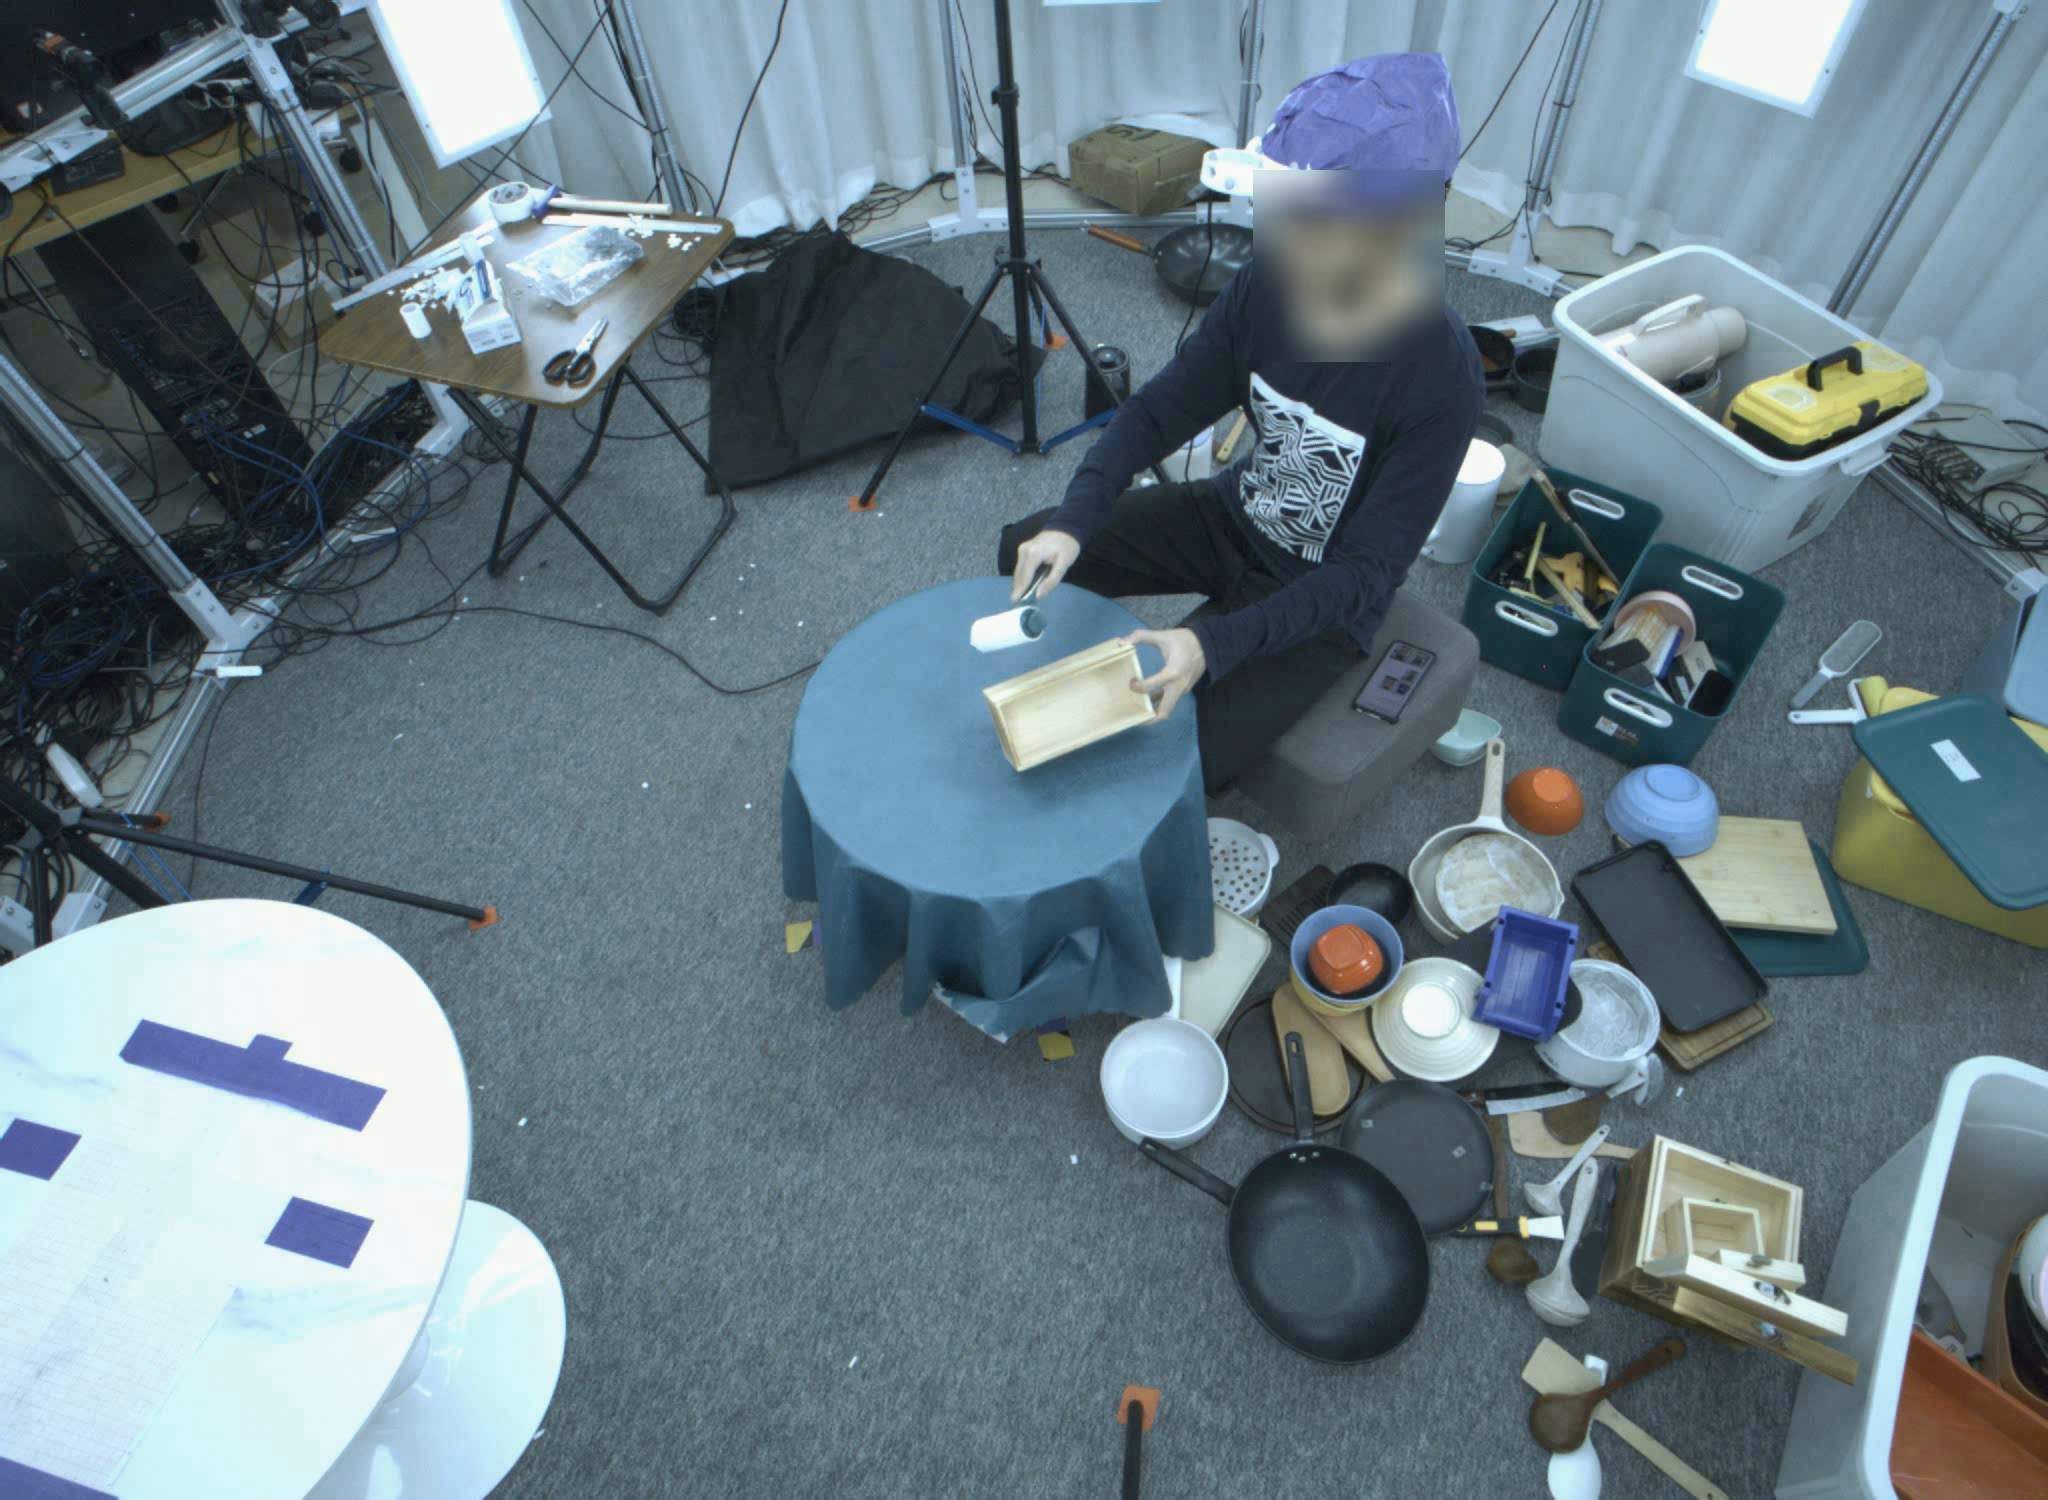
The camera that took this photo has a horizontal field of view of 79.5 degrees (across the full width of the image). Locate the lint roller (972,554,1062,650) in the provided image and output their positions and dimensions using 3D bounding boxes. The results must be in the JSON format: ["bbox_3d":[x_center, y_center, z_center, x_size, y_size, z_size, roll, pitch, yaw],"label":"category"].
[{"bbox_3d":[0.004,-0.224,1.736,0.131,0.049,0.180,-8,49,46],"label":"lint roller"}]

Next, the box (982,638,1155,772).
[{"bbox_3d":[0.062,-0.065,1.732,0.212,0.109,0.079,-23,21,-10],"label":"box"}]
